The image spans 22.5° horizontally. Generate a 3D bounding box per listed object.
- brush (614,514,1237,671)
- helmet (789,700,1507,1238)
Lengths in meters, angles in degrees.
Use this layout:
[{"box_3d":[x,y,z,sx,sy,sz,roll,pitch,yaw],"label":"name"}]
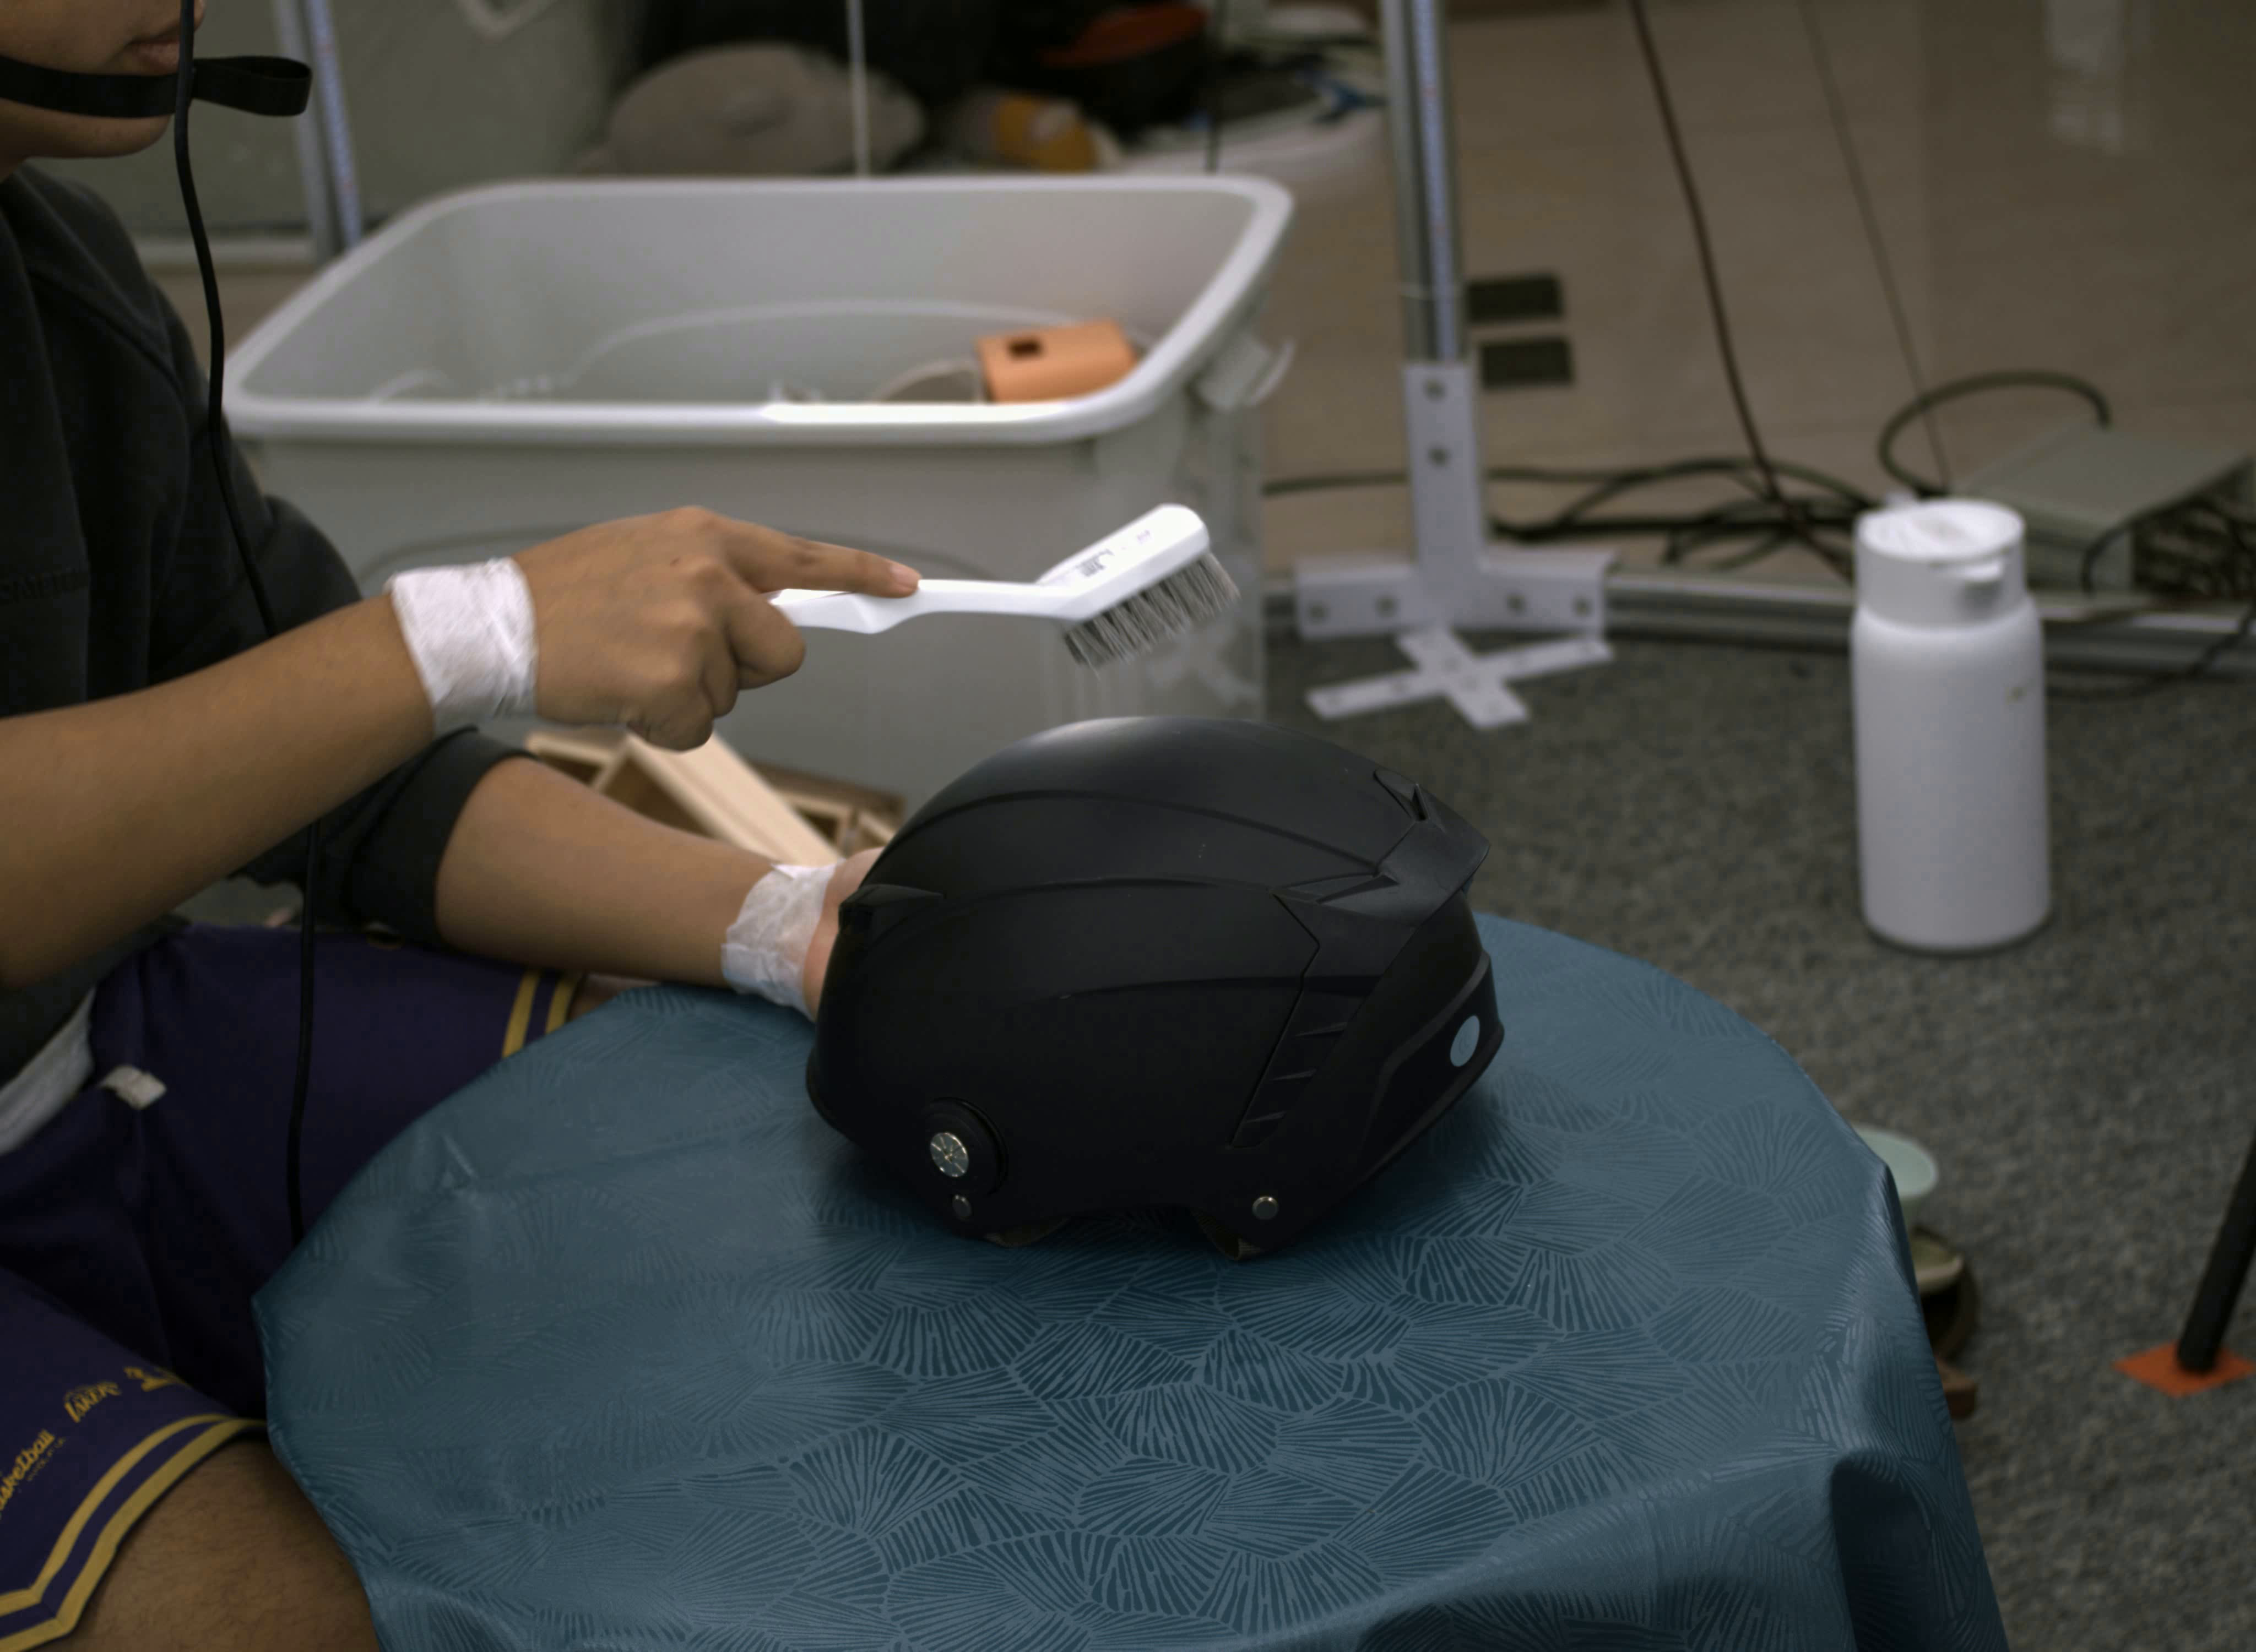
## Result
[{"box_3d":[-0.072,-0.071,2.070,0.243,0.051,0.034,-12,19,-25],"label":"brush"},{"box_3d":[0.008,0.041,2.156,0.275,0.175,0.243,12,32,26],"label":"helmet"}]
